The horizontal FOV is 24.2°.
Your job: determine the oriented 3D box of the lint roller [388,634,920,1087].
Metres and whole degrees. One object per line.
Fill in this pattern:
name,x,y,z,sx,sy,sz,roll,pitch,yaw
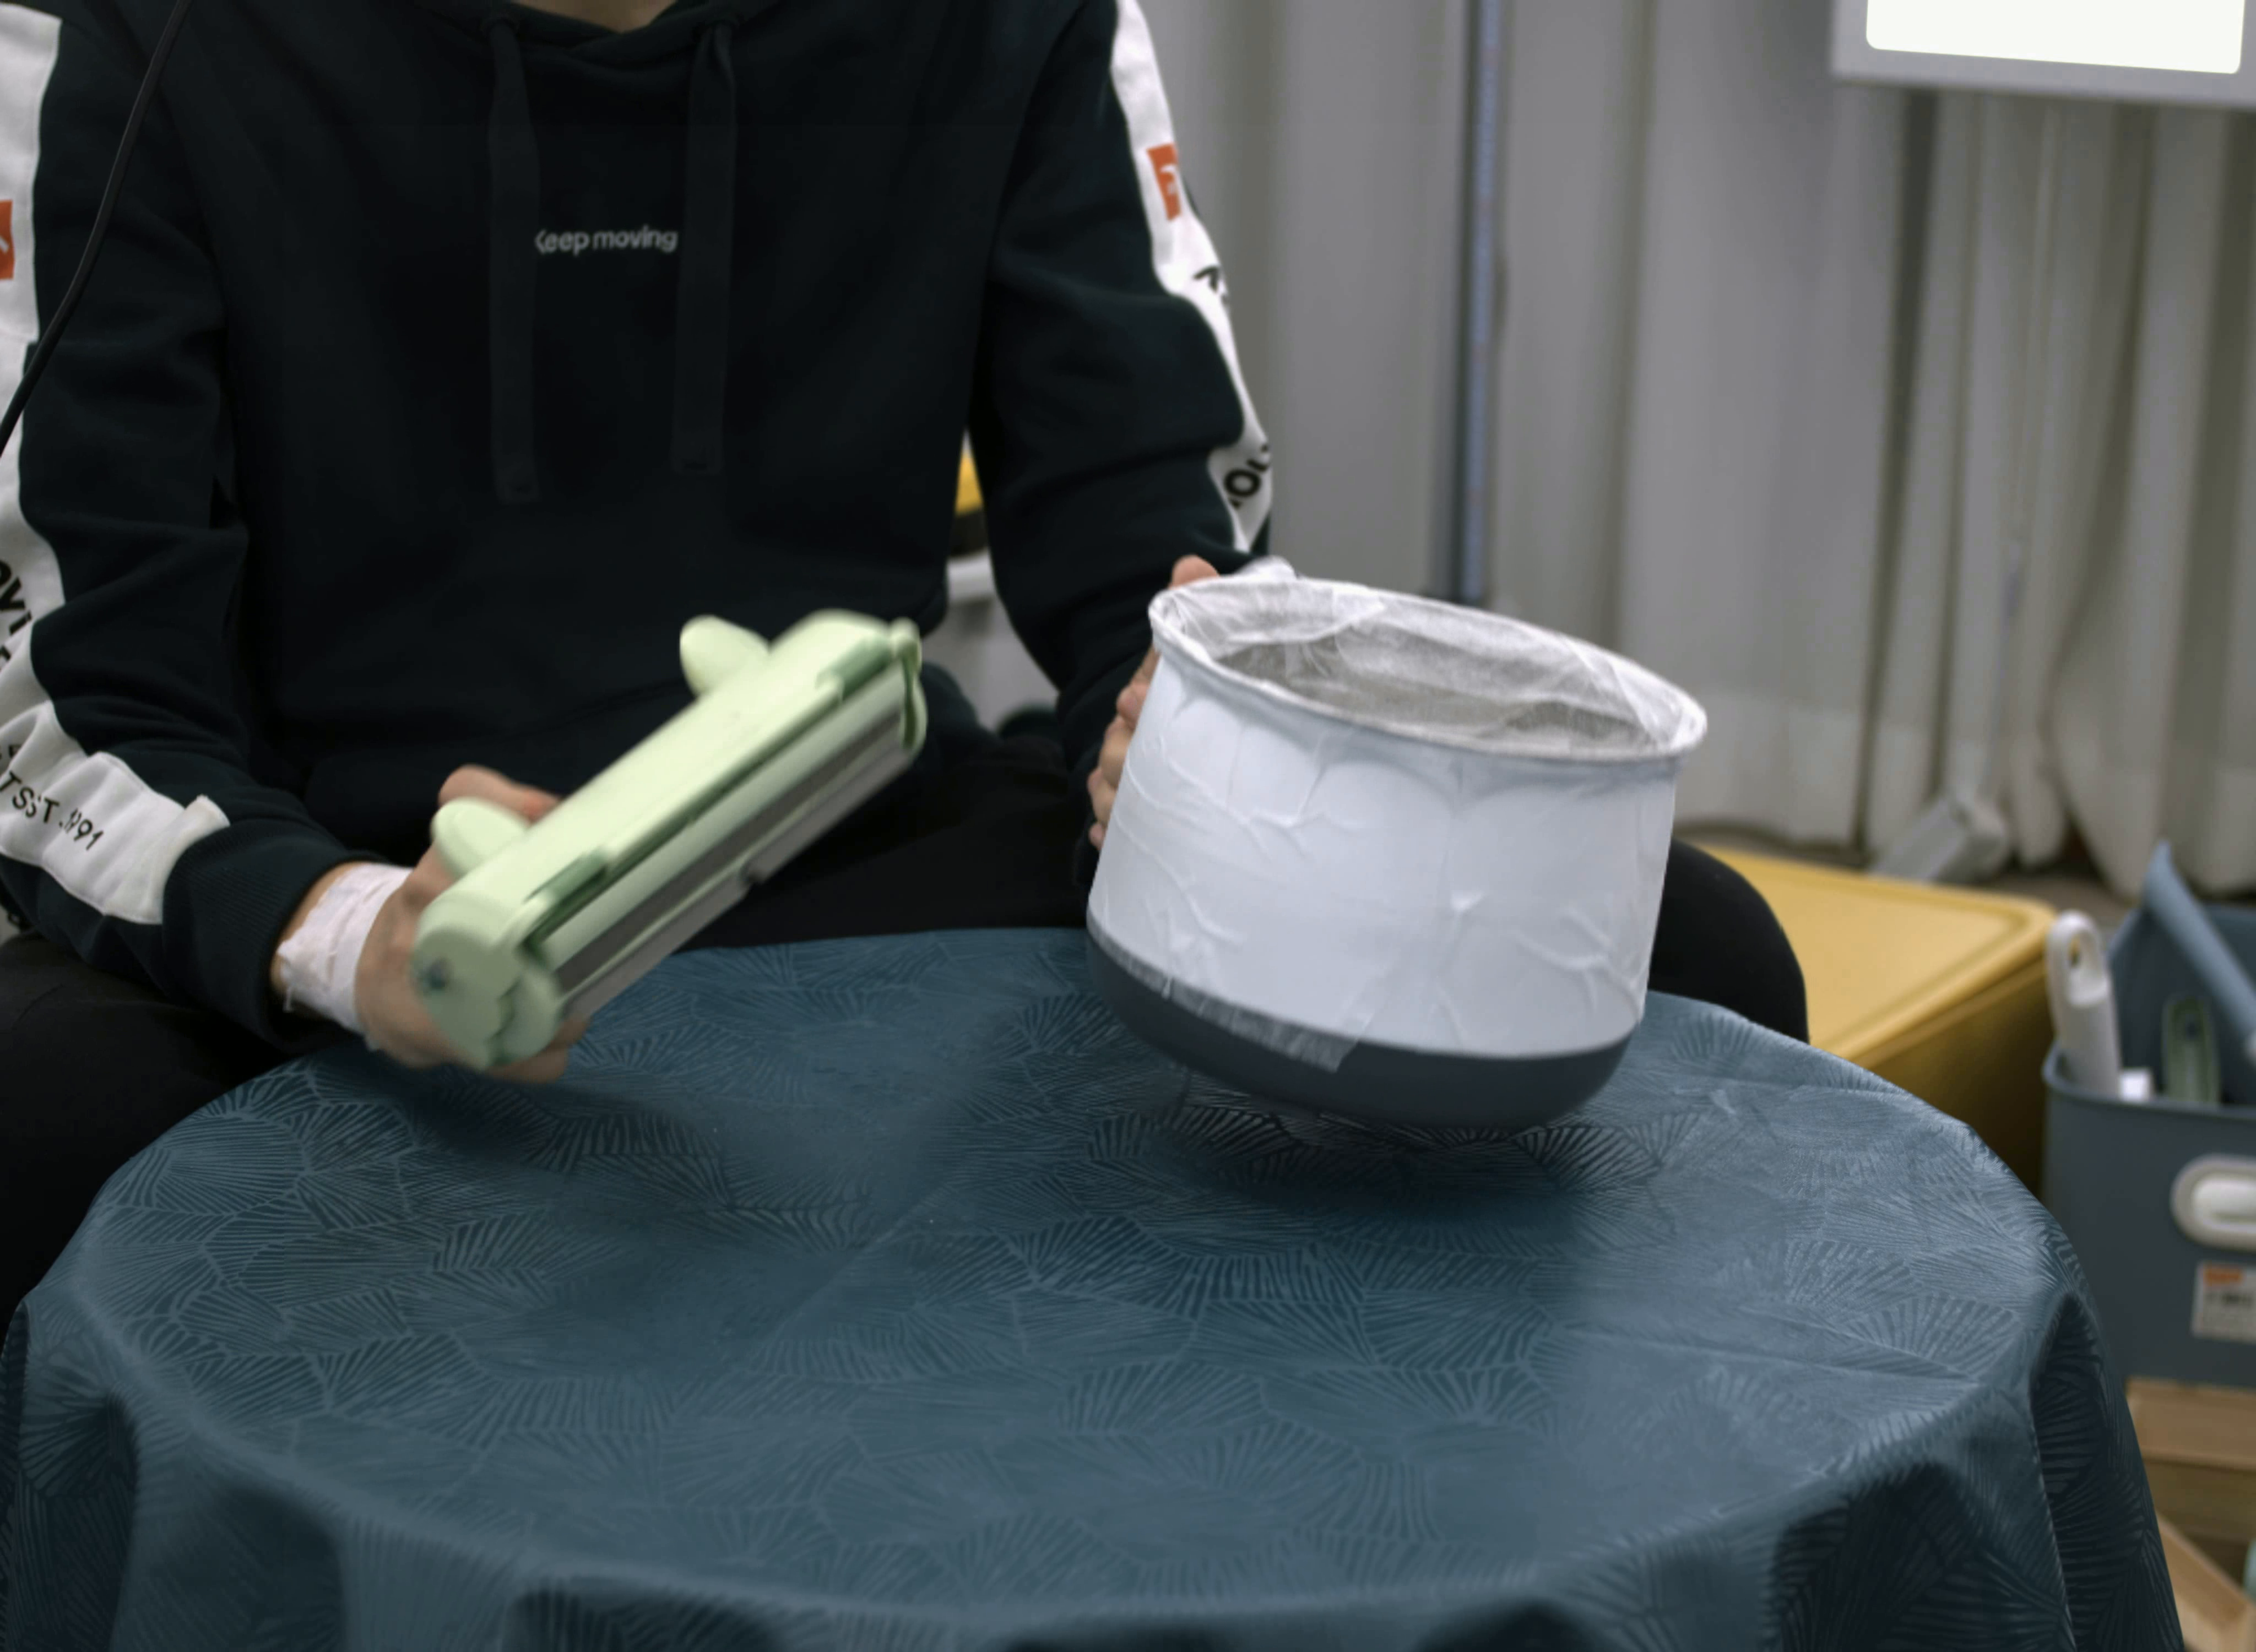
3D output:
lint roller,-0.175,0.016,1.606,0.182,0.082,0.198,-23,12,48

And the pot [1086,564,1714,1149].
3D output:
pot,0.068,0.004,1.662,0.180,0.137,0.230,3,19,-31
